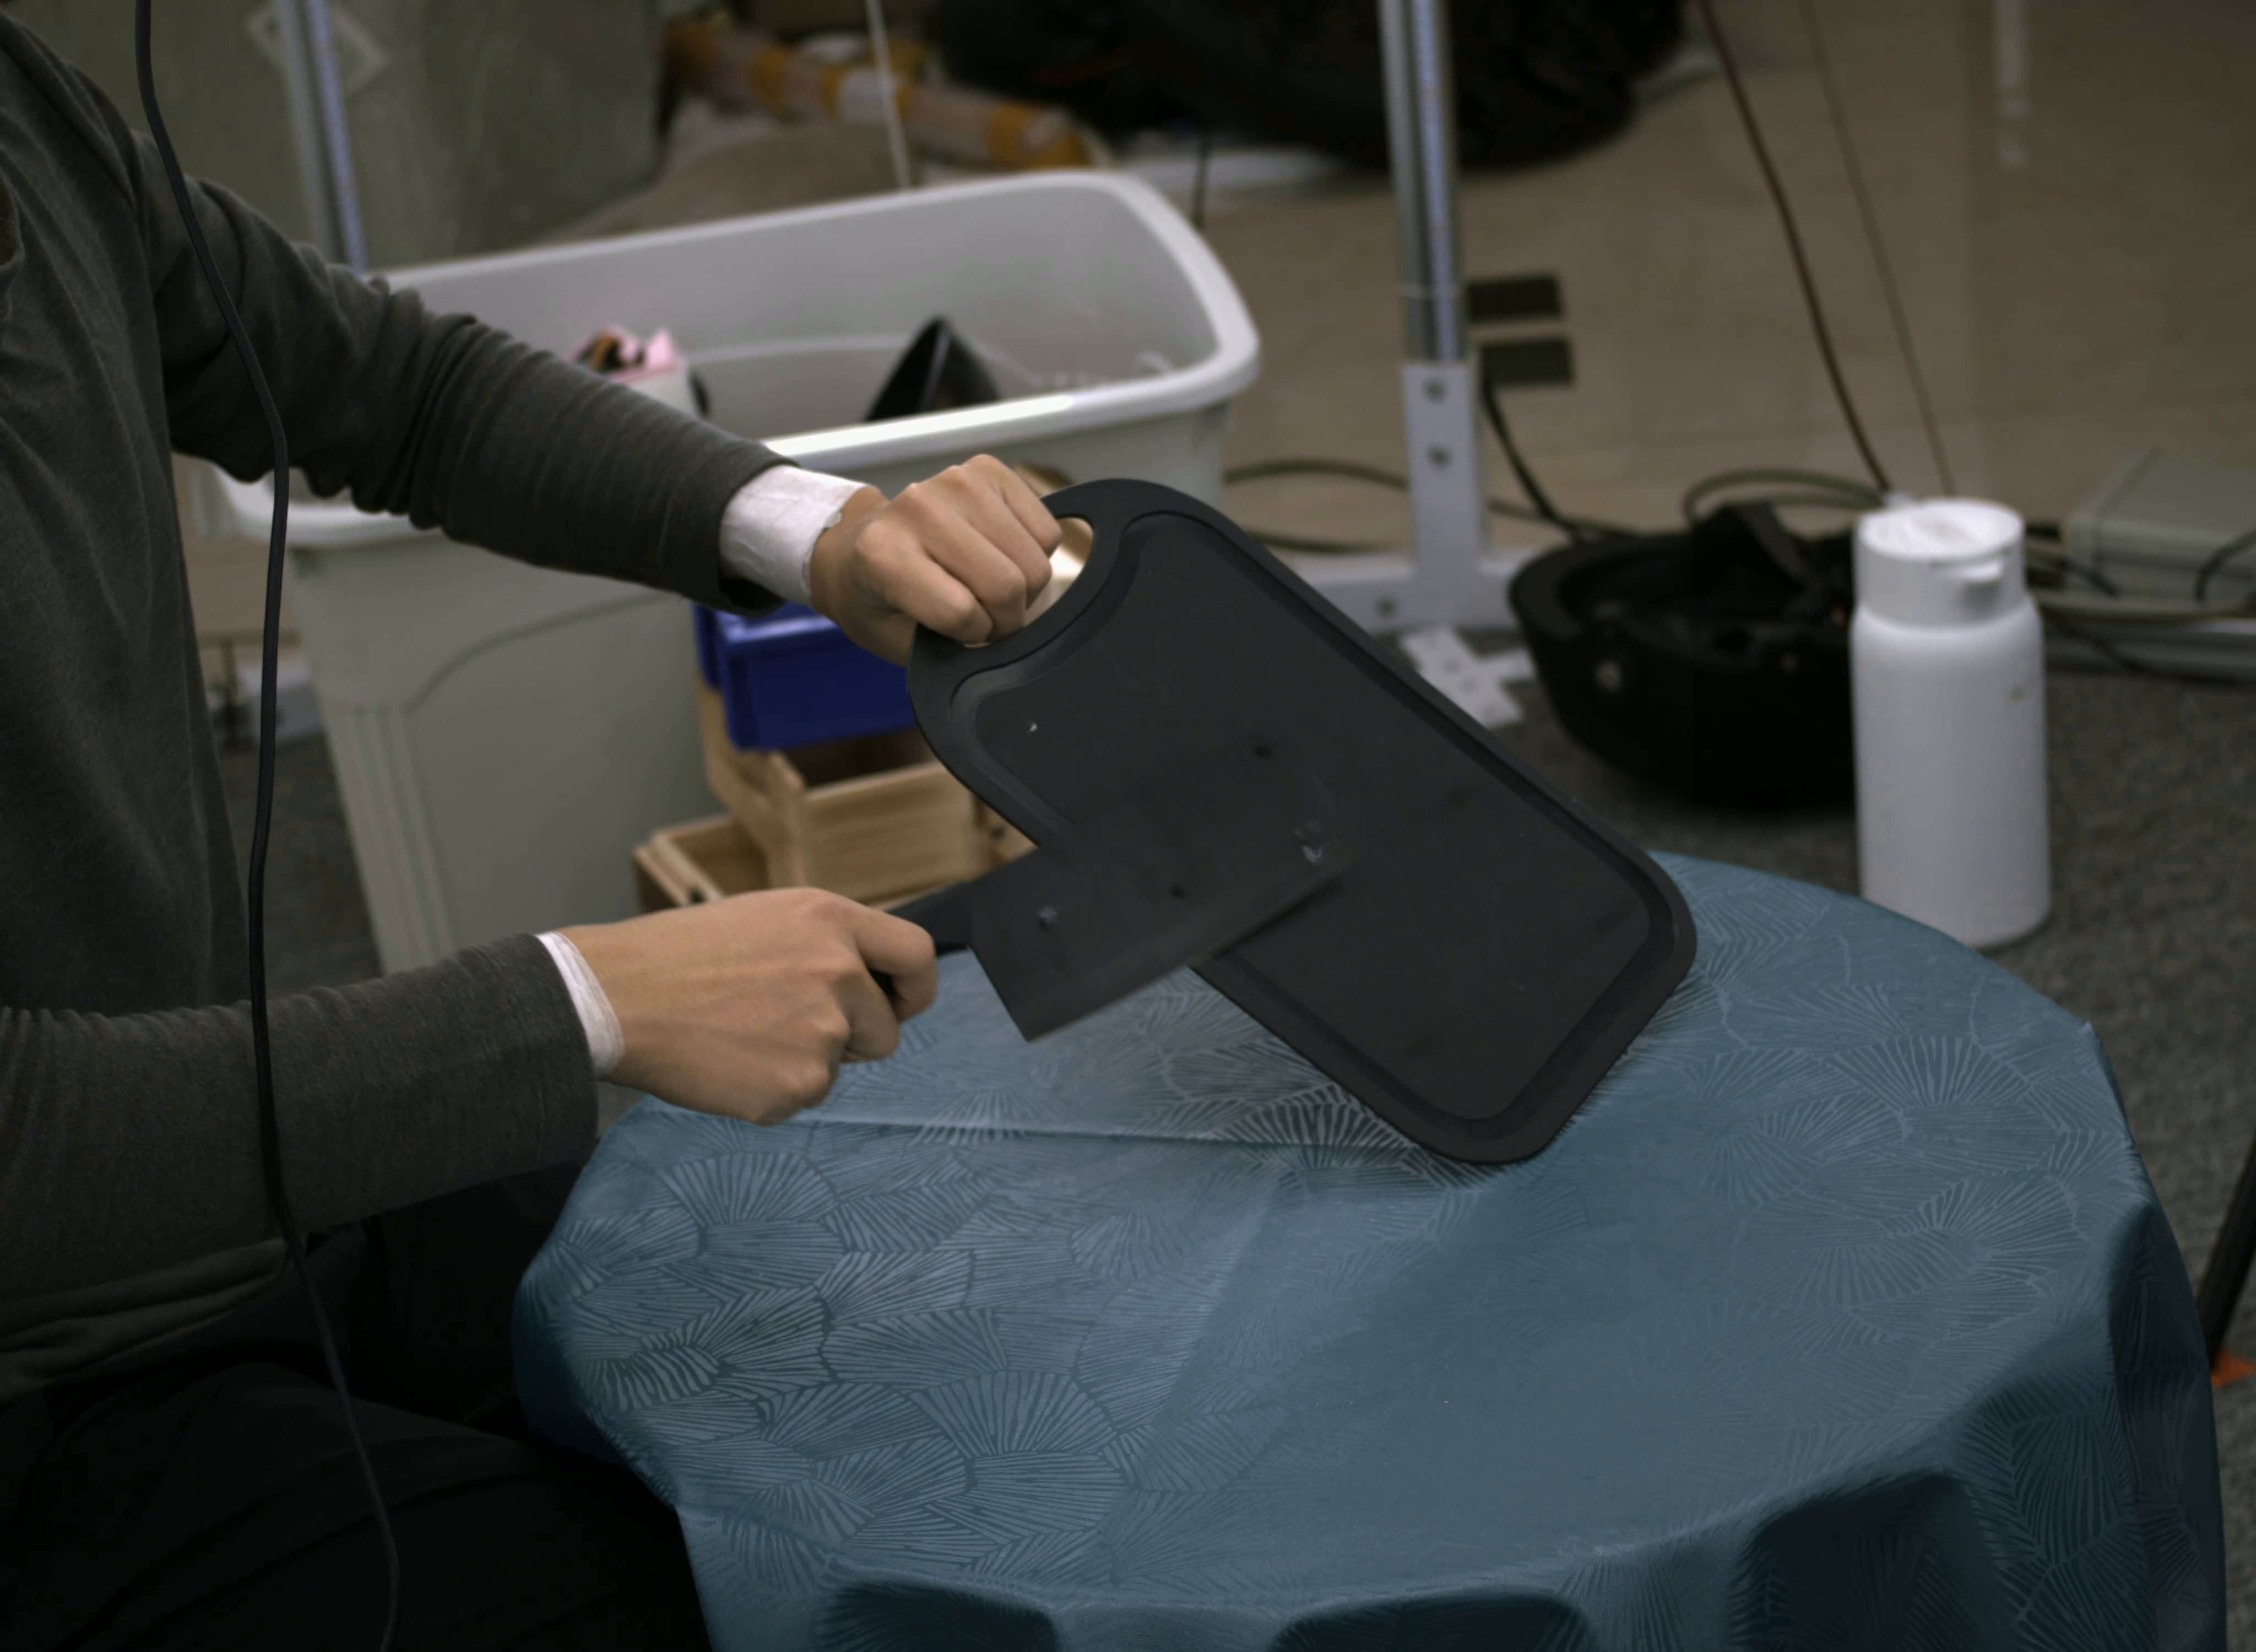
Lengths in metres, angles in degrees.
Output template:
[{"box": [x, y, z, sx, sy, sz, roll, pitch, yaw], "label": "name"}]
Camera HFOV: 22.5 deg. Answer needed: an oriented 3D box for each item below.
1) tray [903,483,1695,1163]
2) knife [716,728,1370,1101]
[{"box": [0.063, -0.011, 2.205, 0.324, 0.010, 0.208, 39, 45, 5], "label": "tray"}, {"box": [-0.030, 0.040, 2.104, 0.300, 0.080, 0.021, -22, -8, -34], "label": "knife"}]
